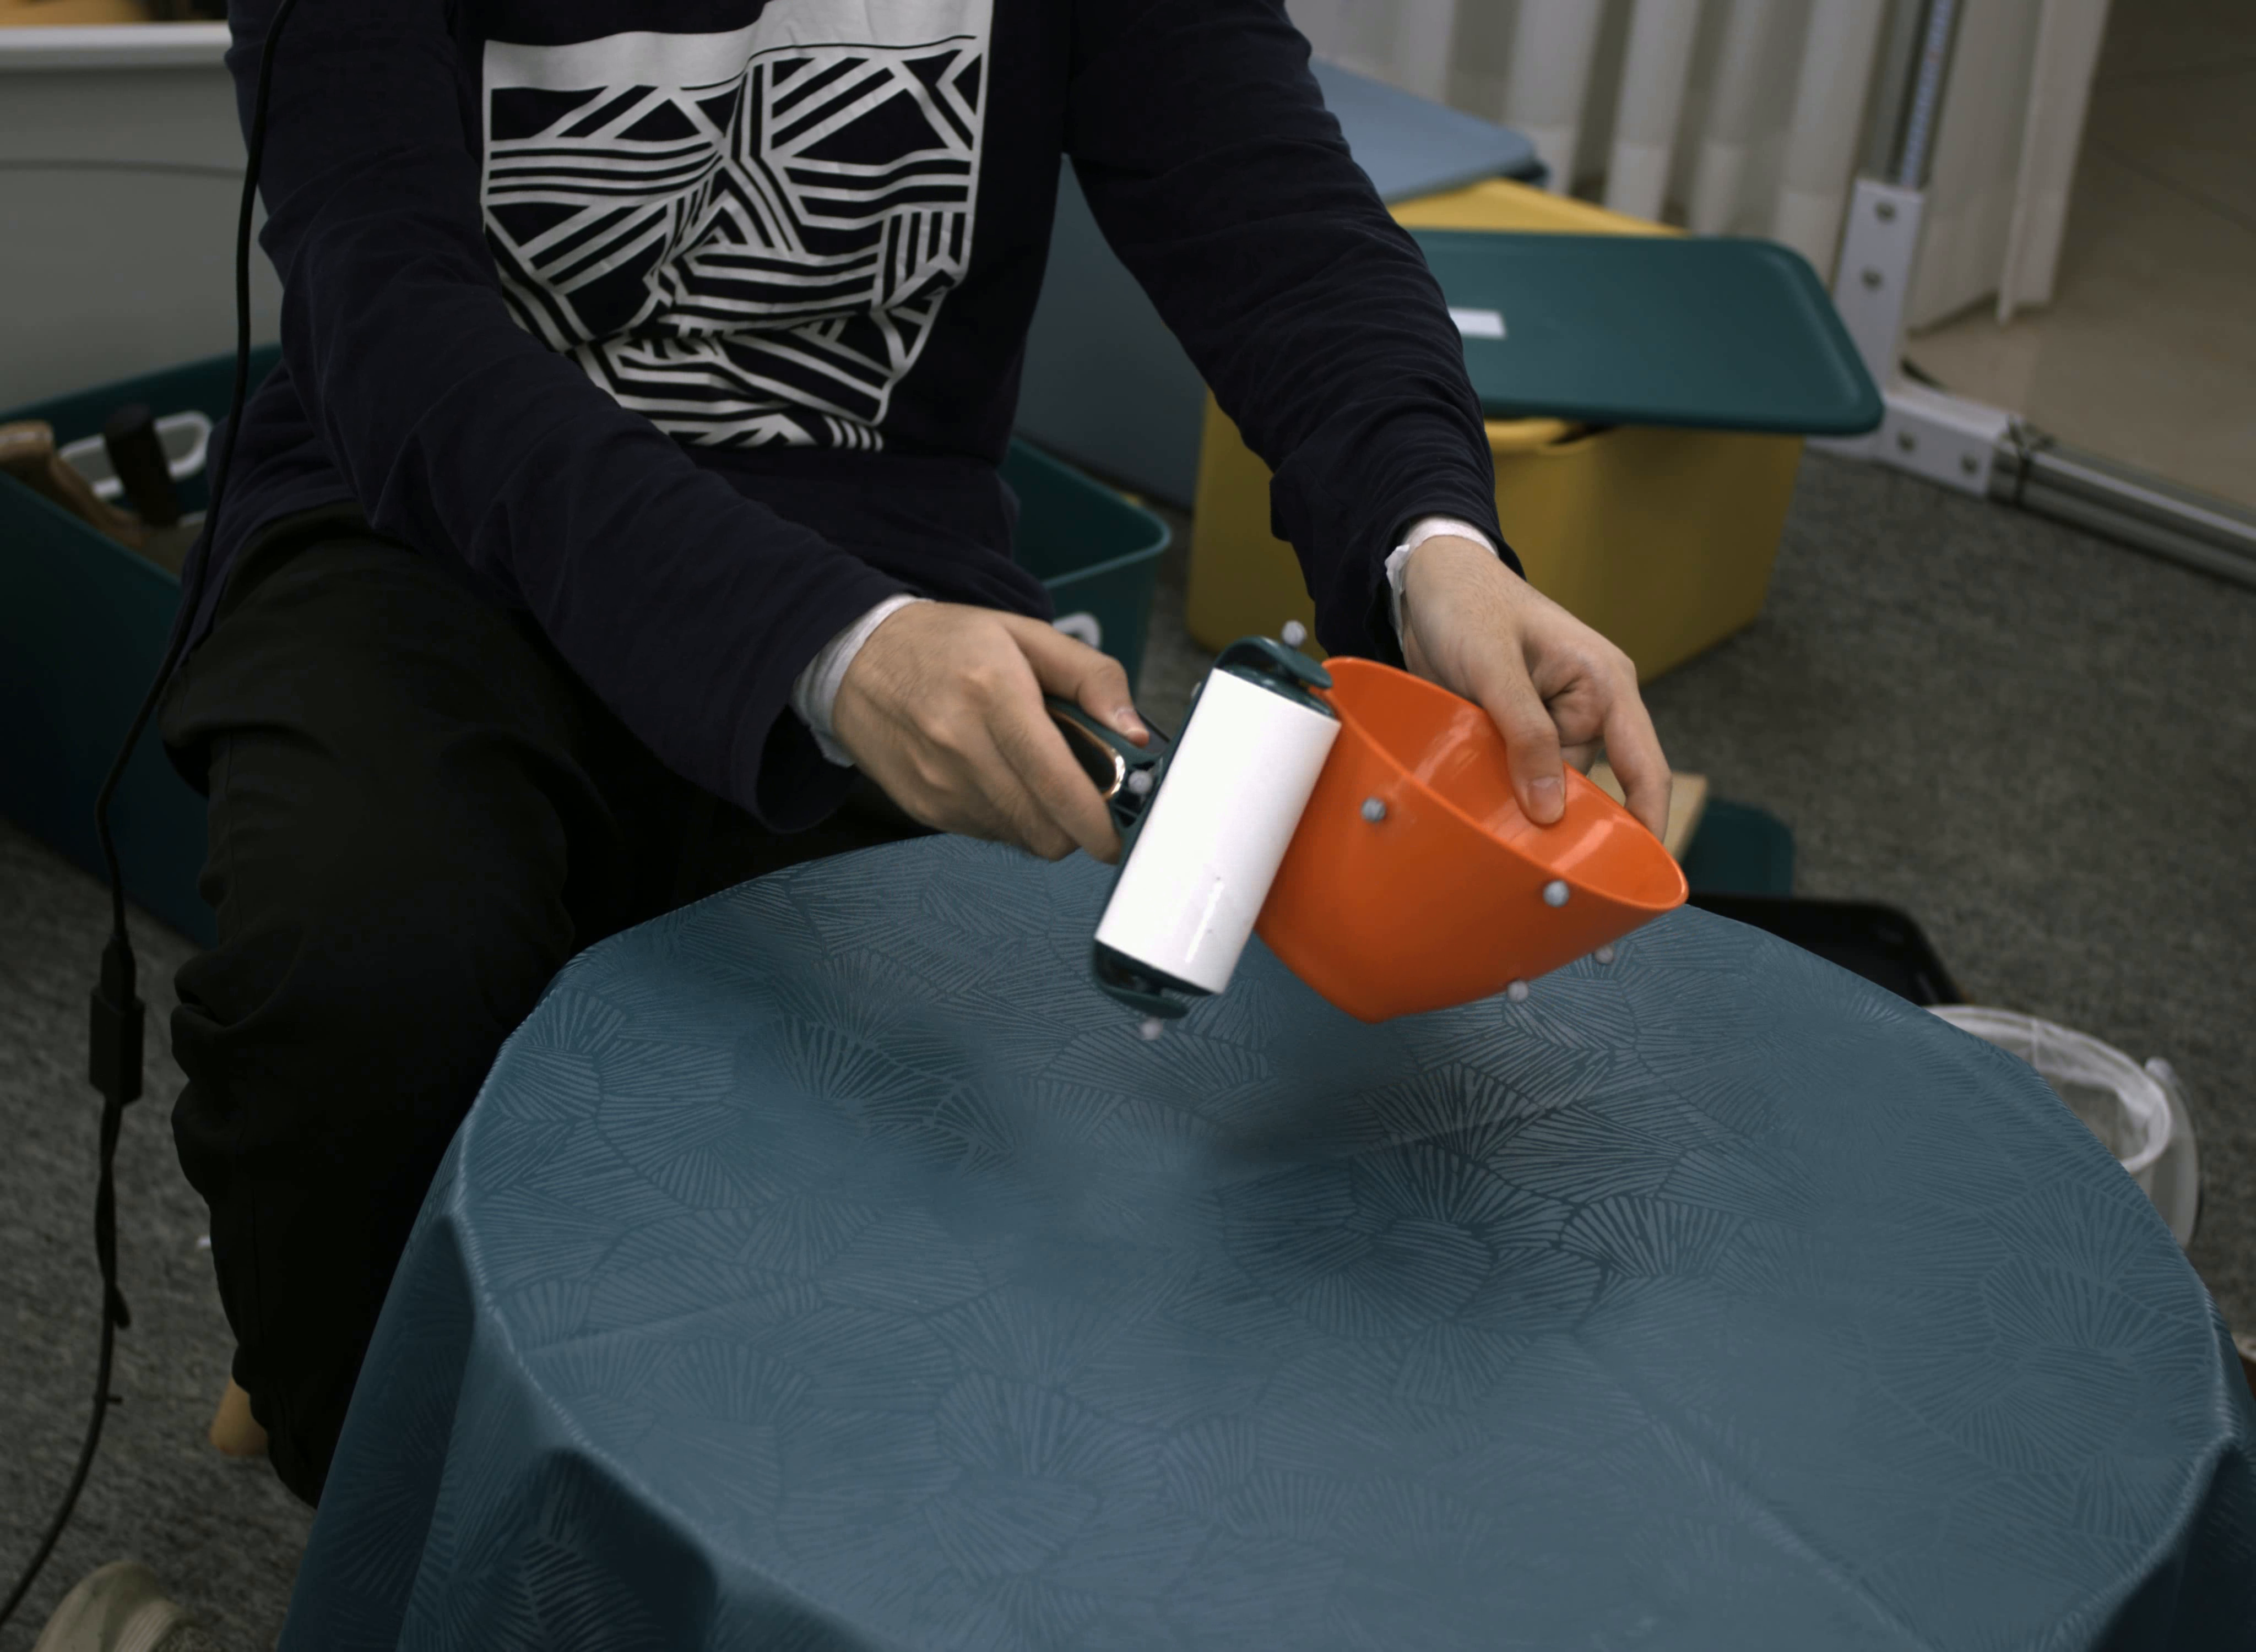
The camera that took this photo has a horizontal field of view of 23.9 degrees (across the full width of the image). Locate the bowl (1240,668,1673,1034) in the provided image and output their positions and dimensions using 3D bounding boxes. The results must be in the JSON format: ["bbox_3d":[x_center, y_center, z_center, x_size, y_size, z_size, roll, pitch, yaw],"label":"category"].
[{"bbox_3d":[0.098,0.018,1.833,0.147,0.104,0.148,38,11,-9],"label":"bowl"}]

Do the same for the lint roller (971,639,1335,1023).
[{"bbox_3d":[-0.012,-0.016,1.827,0.048,0.134,0.181,25,-1,-42],"label":"lint roller"}]
